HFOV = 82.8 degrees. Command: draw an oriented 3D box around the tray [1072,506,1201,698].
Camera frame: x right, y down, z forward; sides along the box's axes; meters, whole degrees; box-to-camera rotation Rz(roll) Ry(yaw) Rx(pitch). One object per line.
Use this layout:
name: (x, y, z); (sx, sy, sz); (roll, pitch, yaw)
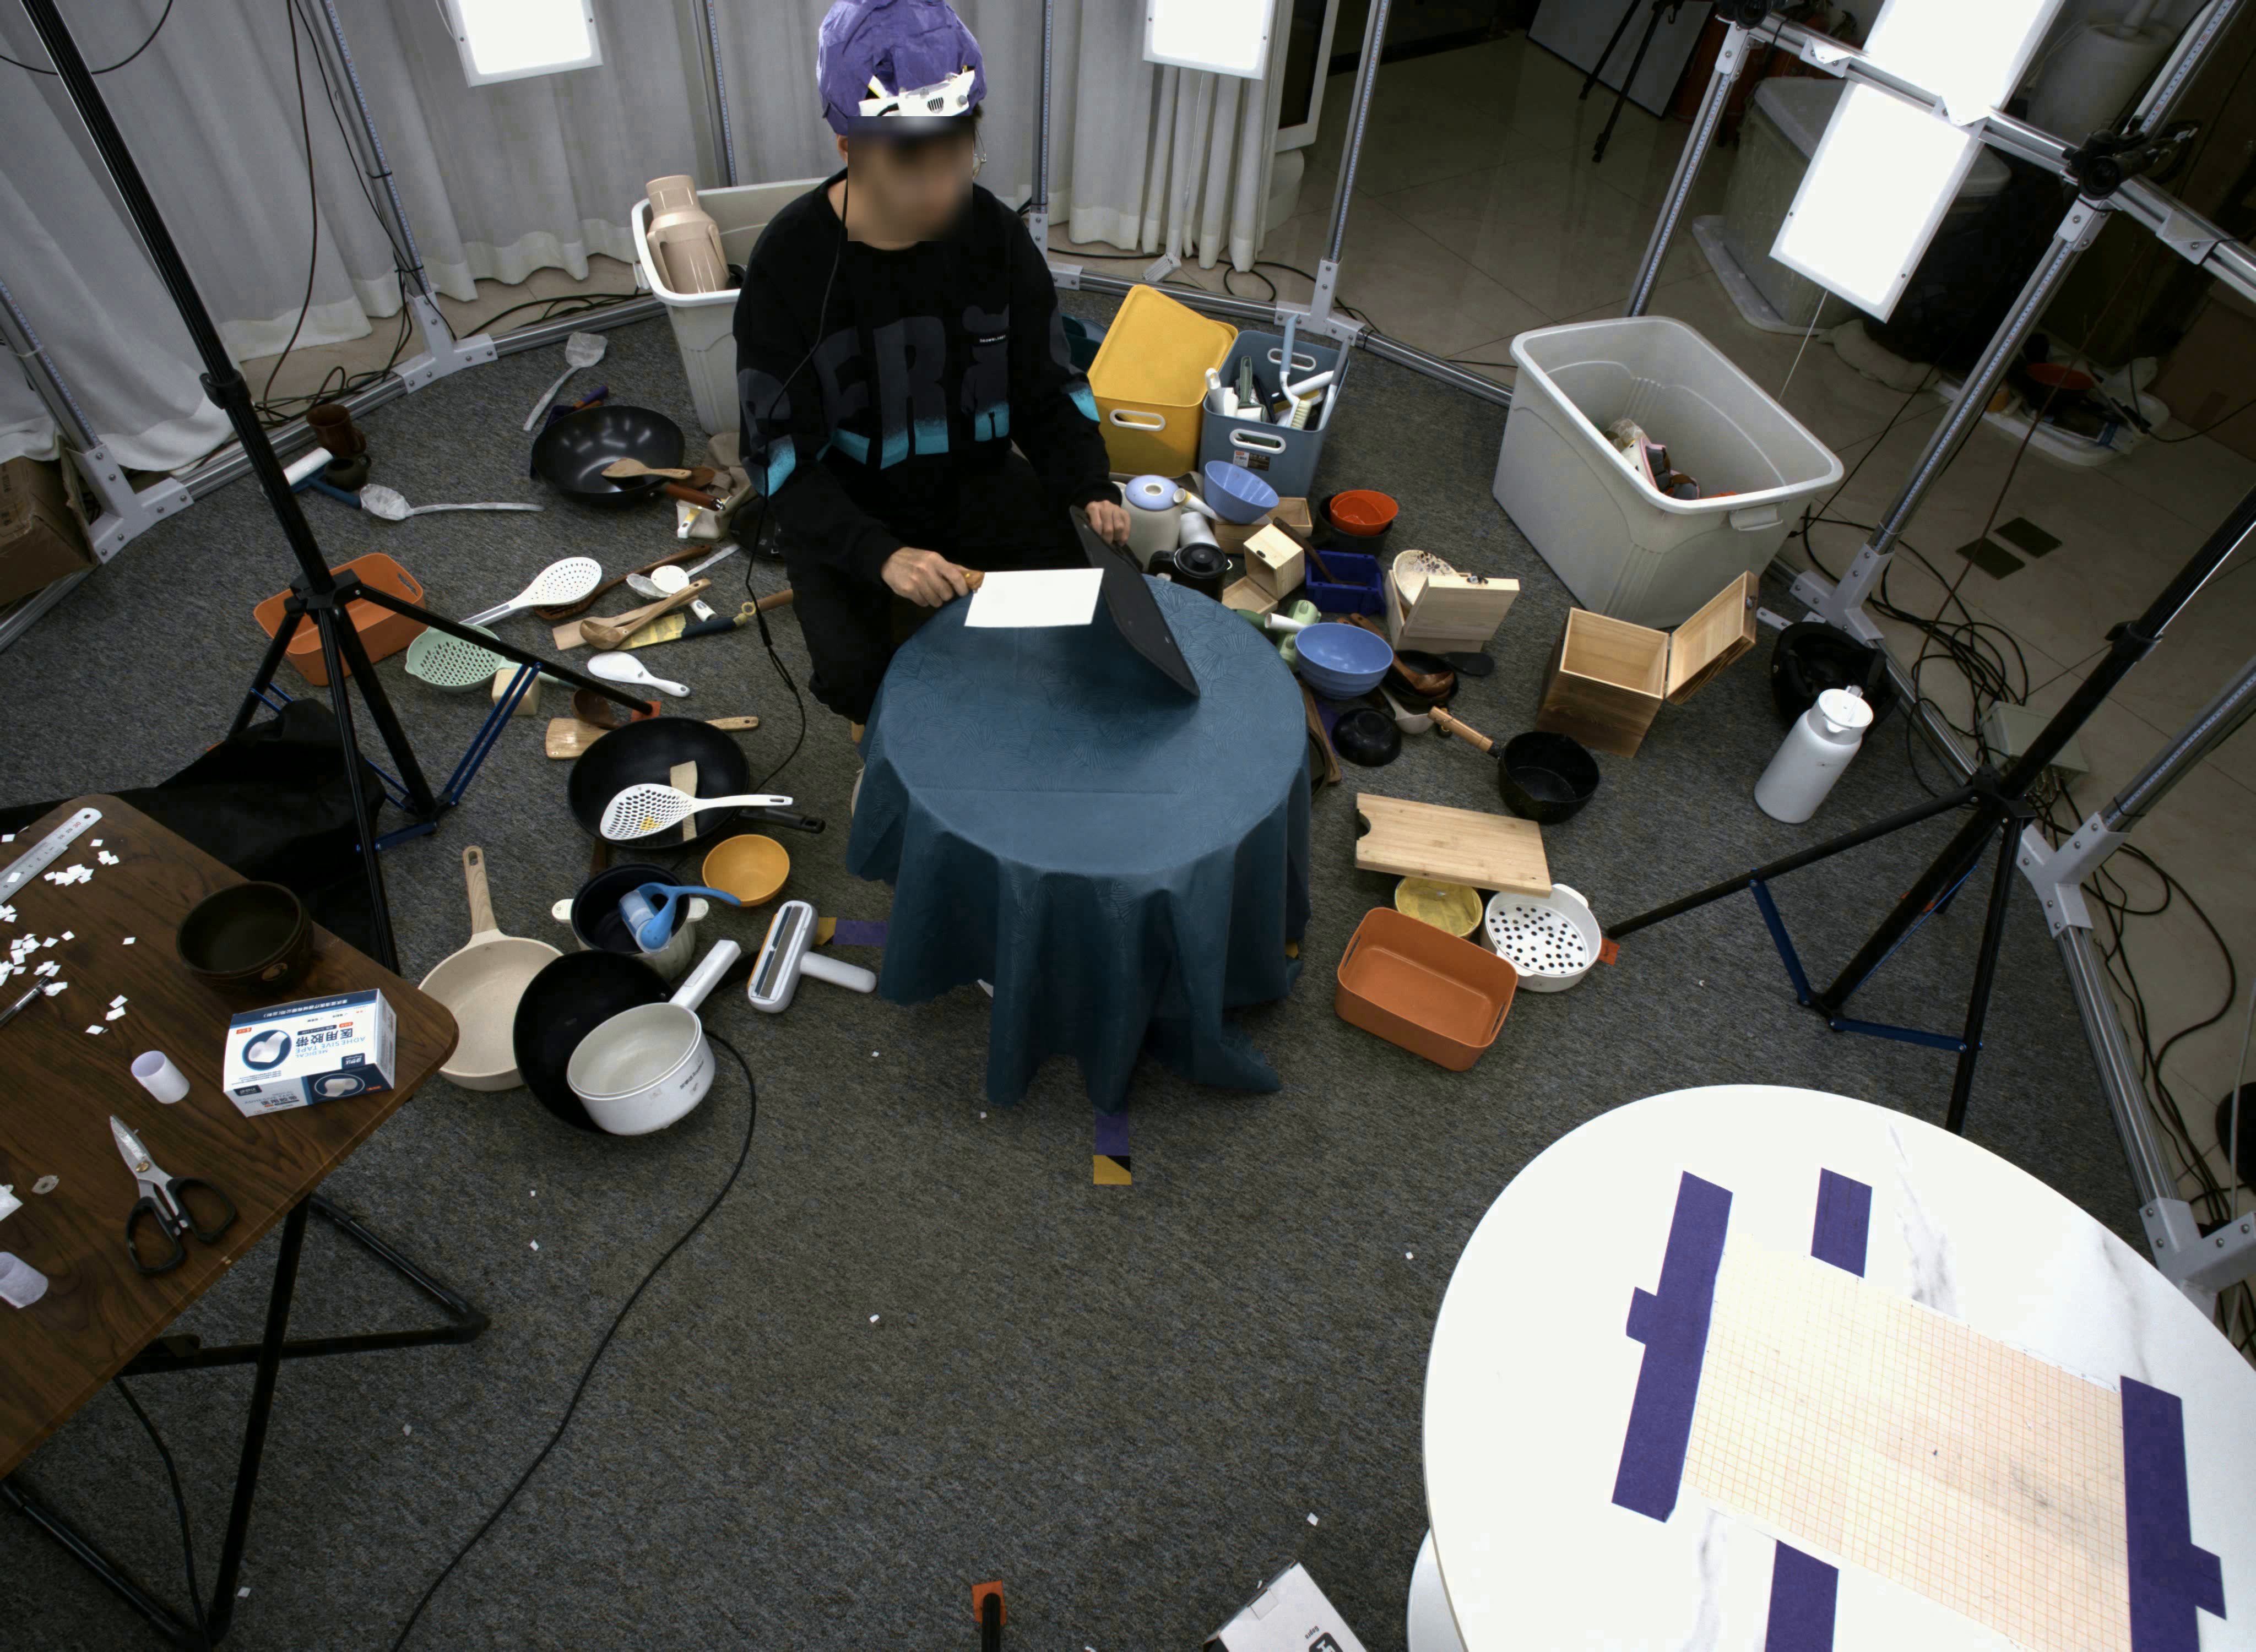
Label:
tray: (0.010, -0.331, 1.849); (0.010, 0.207, 0.333); (-36, 50, 19)

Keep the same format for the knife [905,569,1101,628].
knife: (-0.180, -0.314, 1.776); (0.307, 0.020, 0.094); (3, 65, 23)
